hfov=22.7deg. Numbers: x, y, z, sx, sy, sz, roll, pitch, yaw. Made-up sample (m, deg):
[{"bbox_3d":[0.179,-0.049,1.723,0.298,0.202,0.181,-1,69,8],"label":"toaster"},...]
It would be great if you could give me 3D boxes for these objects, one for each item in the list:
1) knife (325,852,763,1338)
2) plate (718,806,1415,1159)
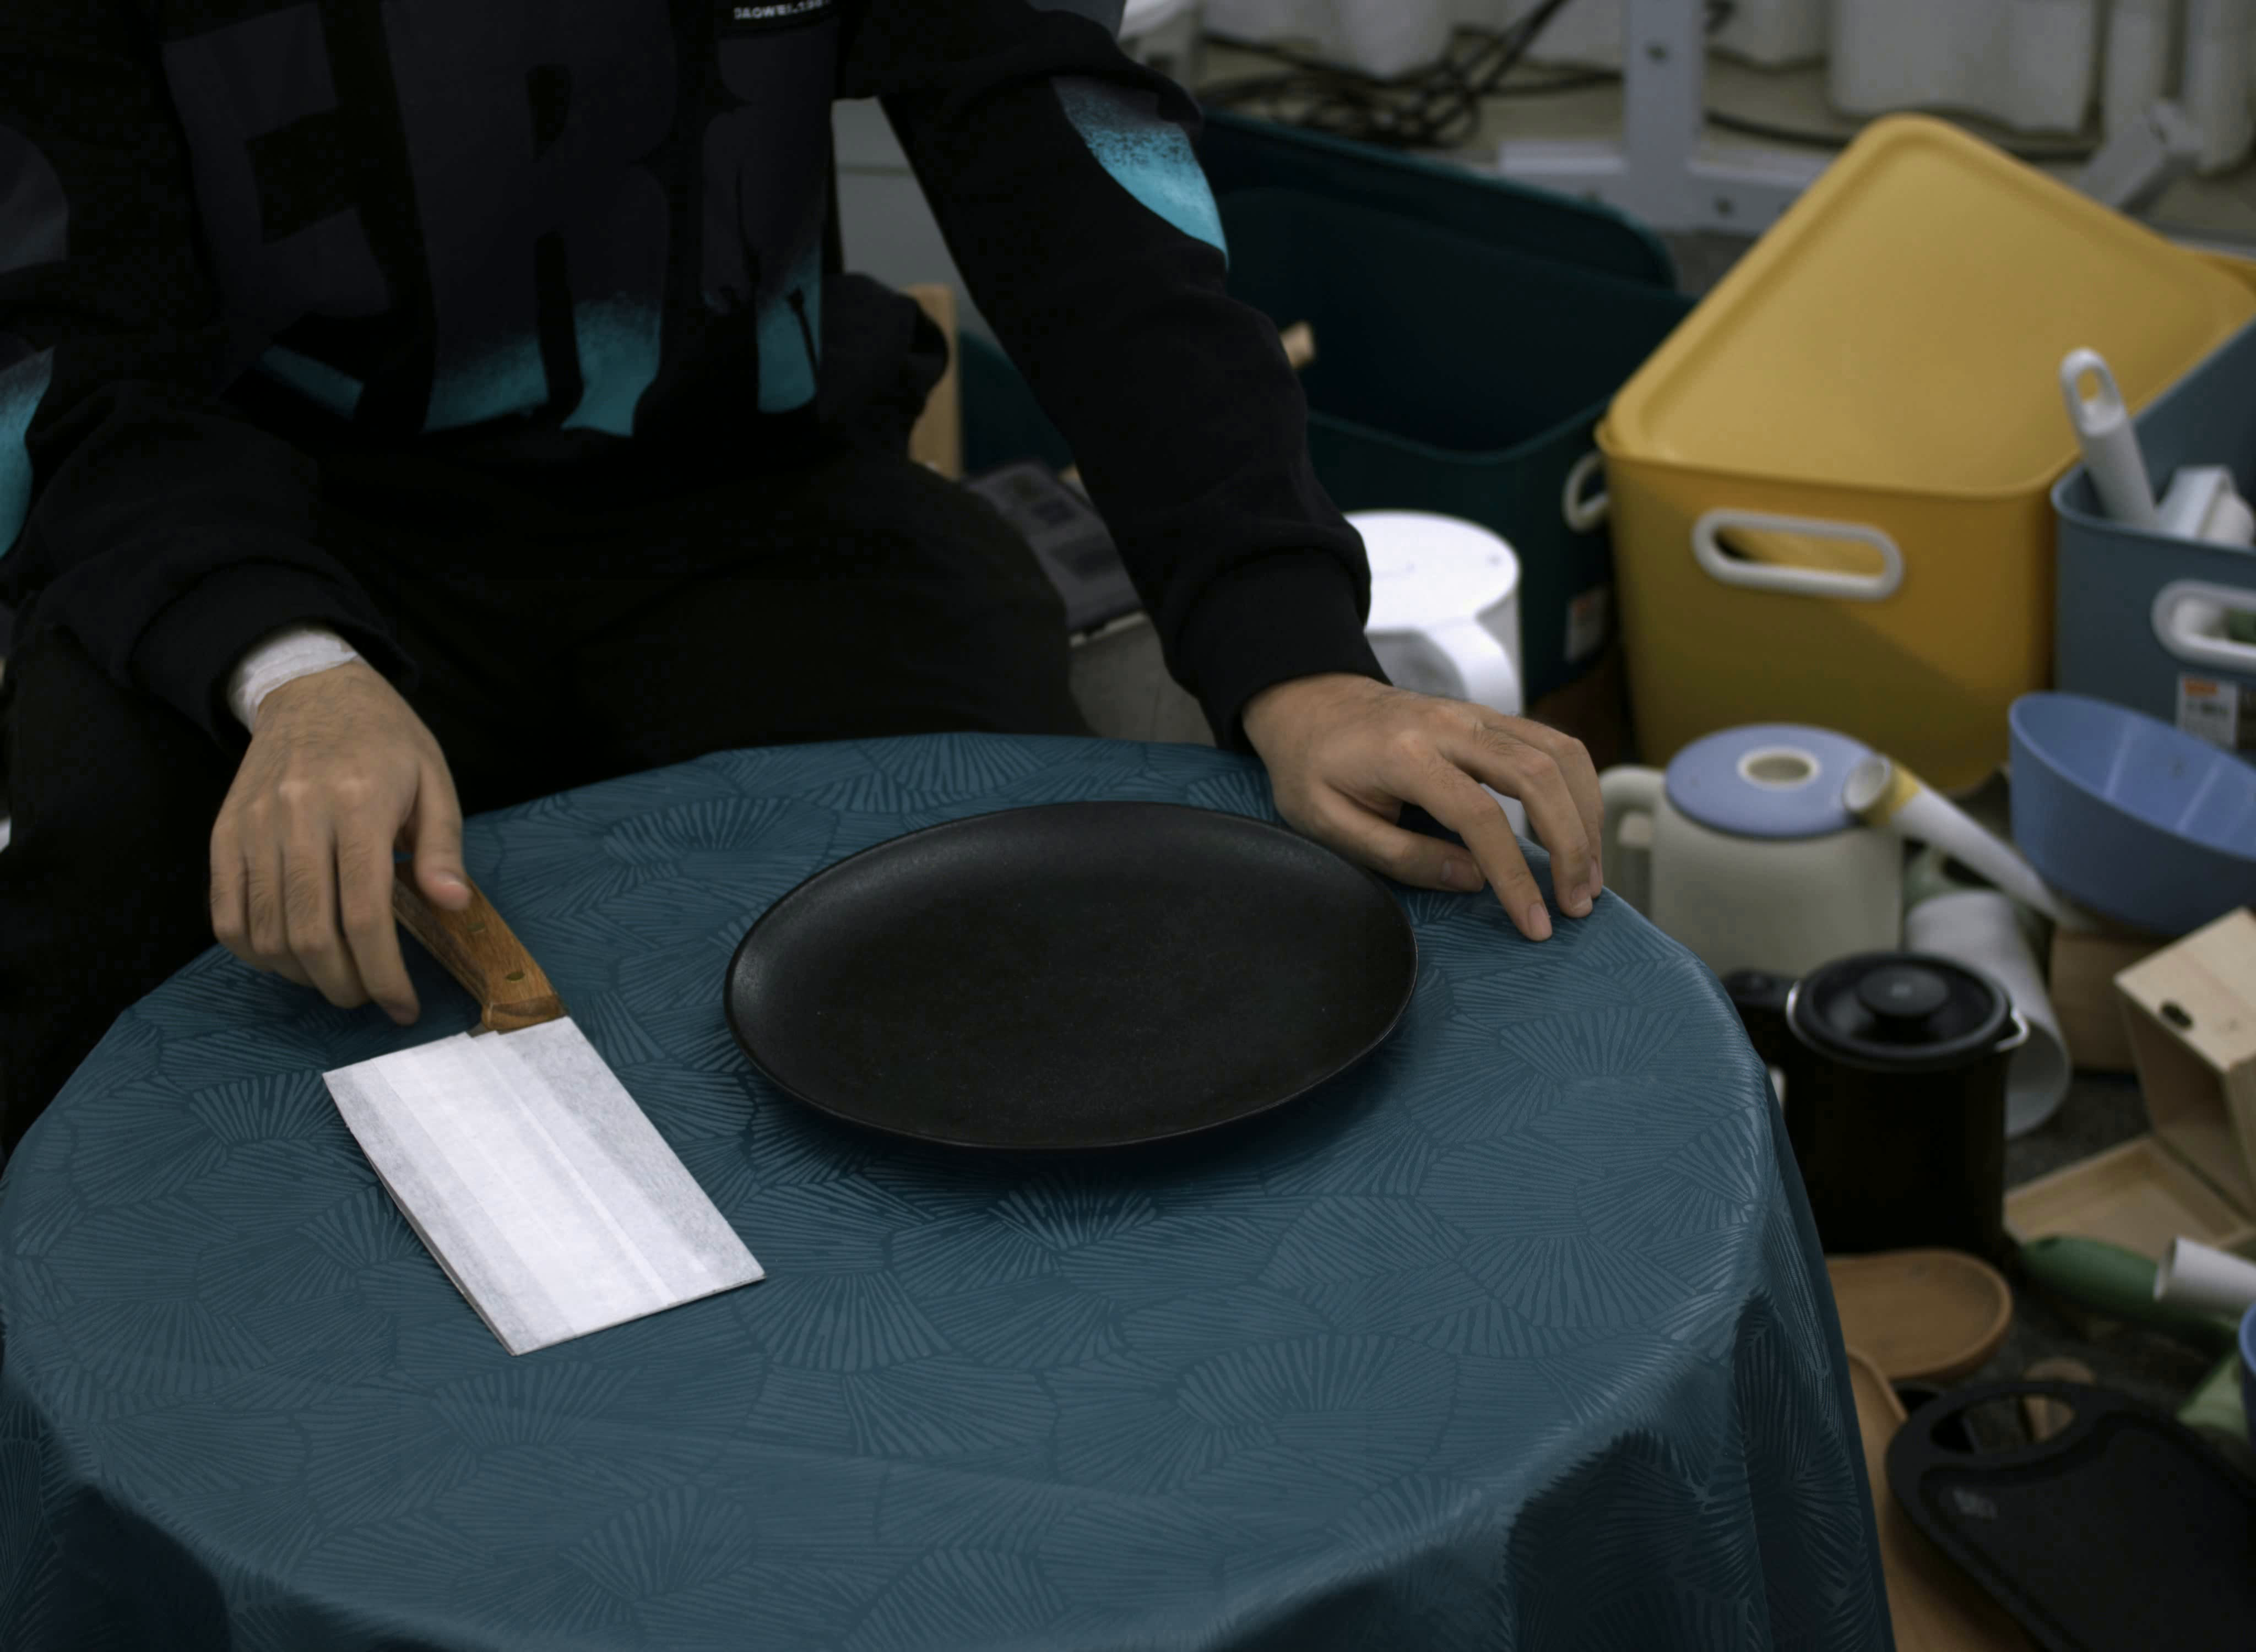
[{"bbox_3d":[-0.221,0.092,1.926,0.093,0.021,0.308,-16,32,-21],"label":"knife"},{"bbox_3d":[-0.021,0.059,1.958,0.243,0.023,0.248,-2,28,2],"label":"plate"}]
